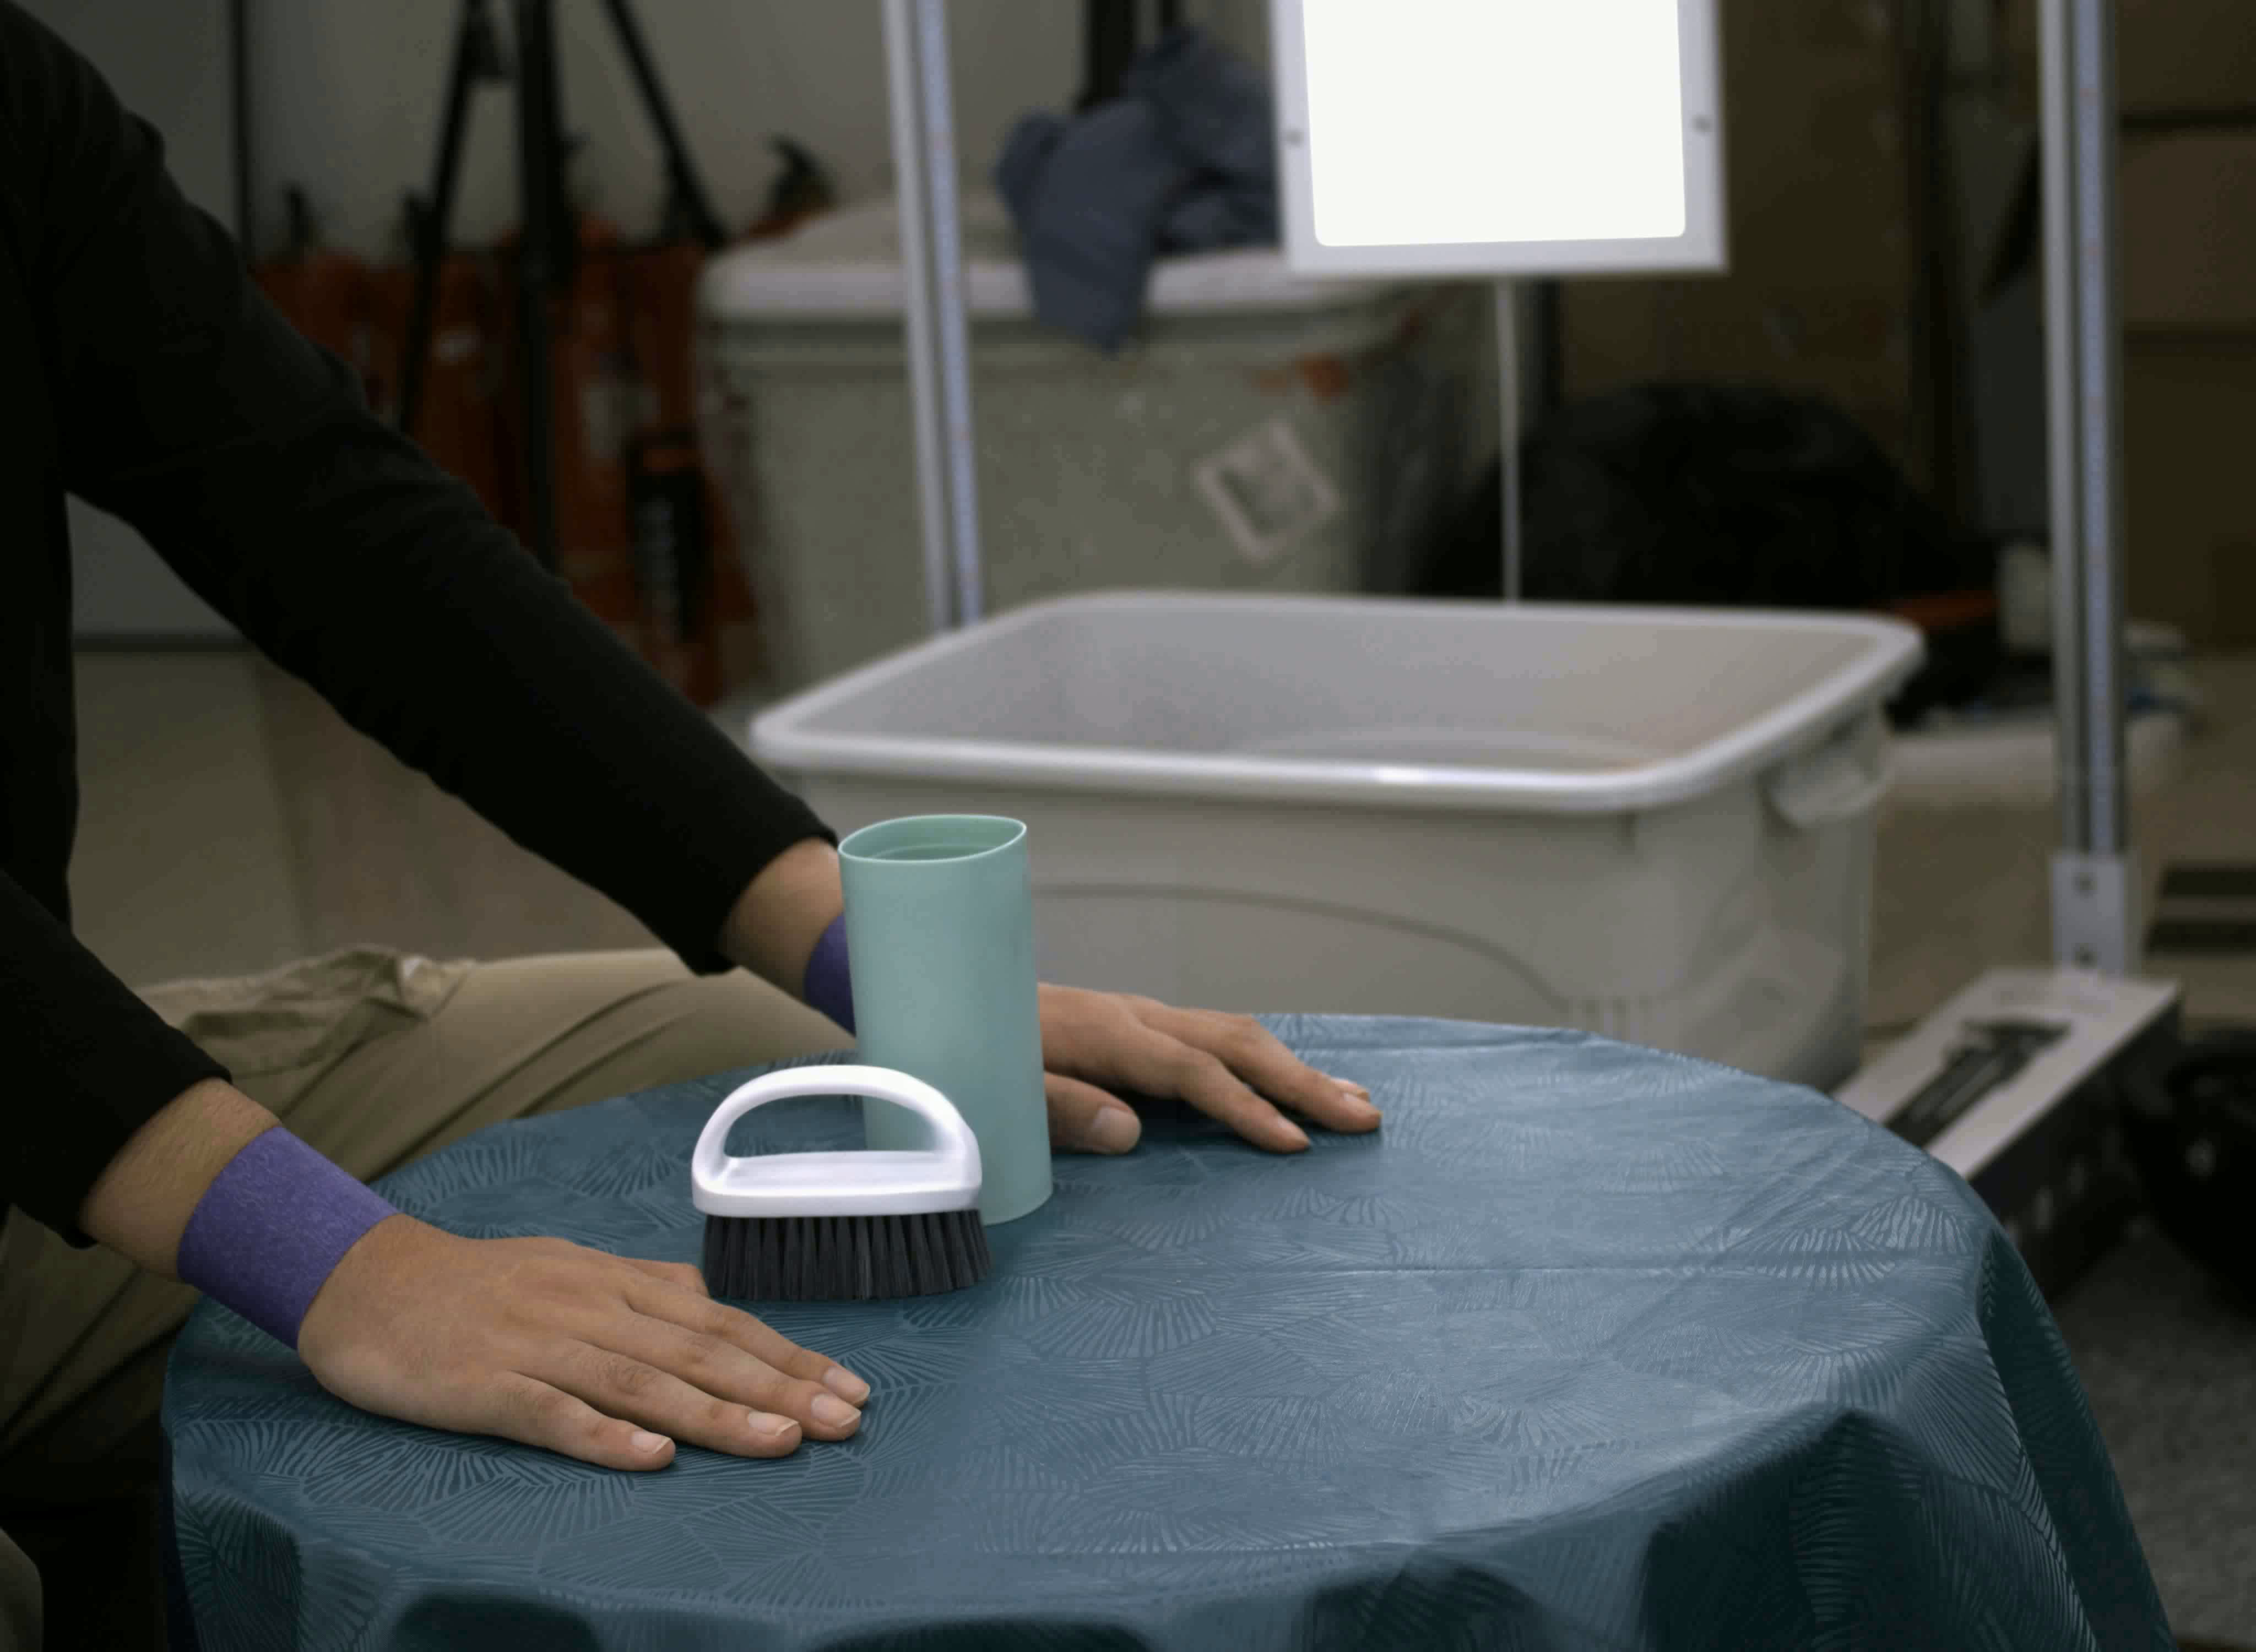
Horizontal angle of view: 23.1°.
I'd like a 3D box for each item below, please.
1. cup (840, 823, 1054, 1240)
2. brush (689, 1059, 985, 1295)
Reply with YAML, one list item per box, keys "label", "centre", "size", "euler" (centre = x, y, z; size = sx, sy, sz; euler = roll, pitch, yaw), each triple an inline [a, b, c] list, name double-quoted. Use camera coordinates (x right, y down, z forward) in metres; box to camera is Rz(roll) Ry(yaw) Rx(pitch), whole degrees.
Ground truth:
- label: "cup"
  centre: [-0.062, 0.070, 1.889]
  size: [0.066, 0.133, 0.066]
  euler: [-4, 14, 0]
- label: "brush"
  centre: [-0.097, 0.113, 1.825]
  size: [0.100, 0.073, 0.049]
  euler: [0, 13, 13]
